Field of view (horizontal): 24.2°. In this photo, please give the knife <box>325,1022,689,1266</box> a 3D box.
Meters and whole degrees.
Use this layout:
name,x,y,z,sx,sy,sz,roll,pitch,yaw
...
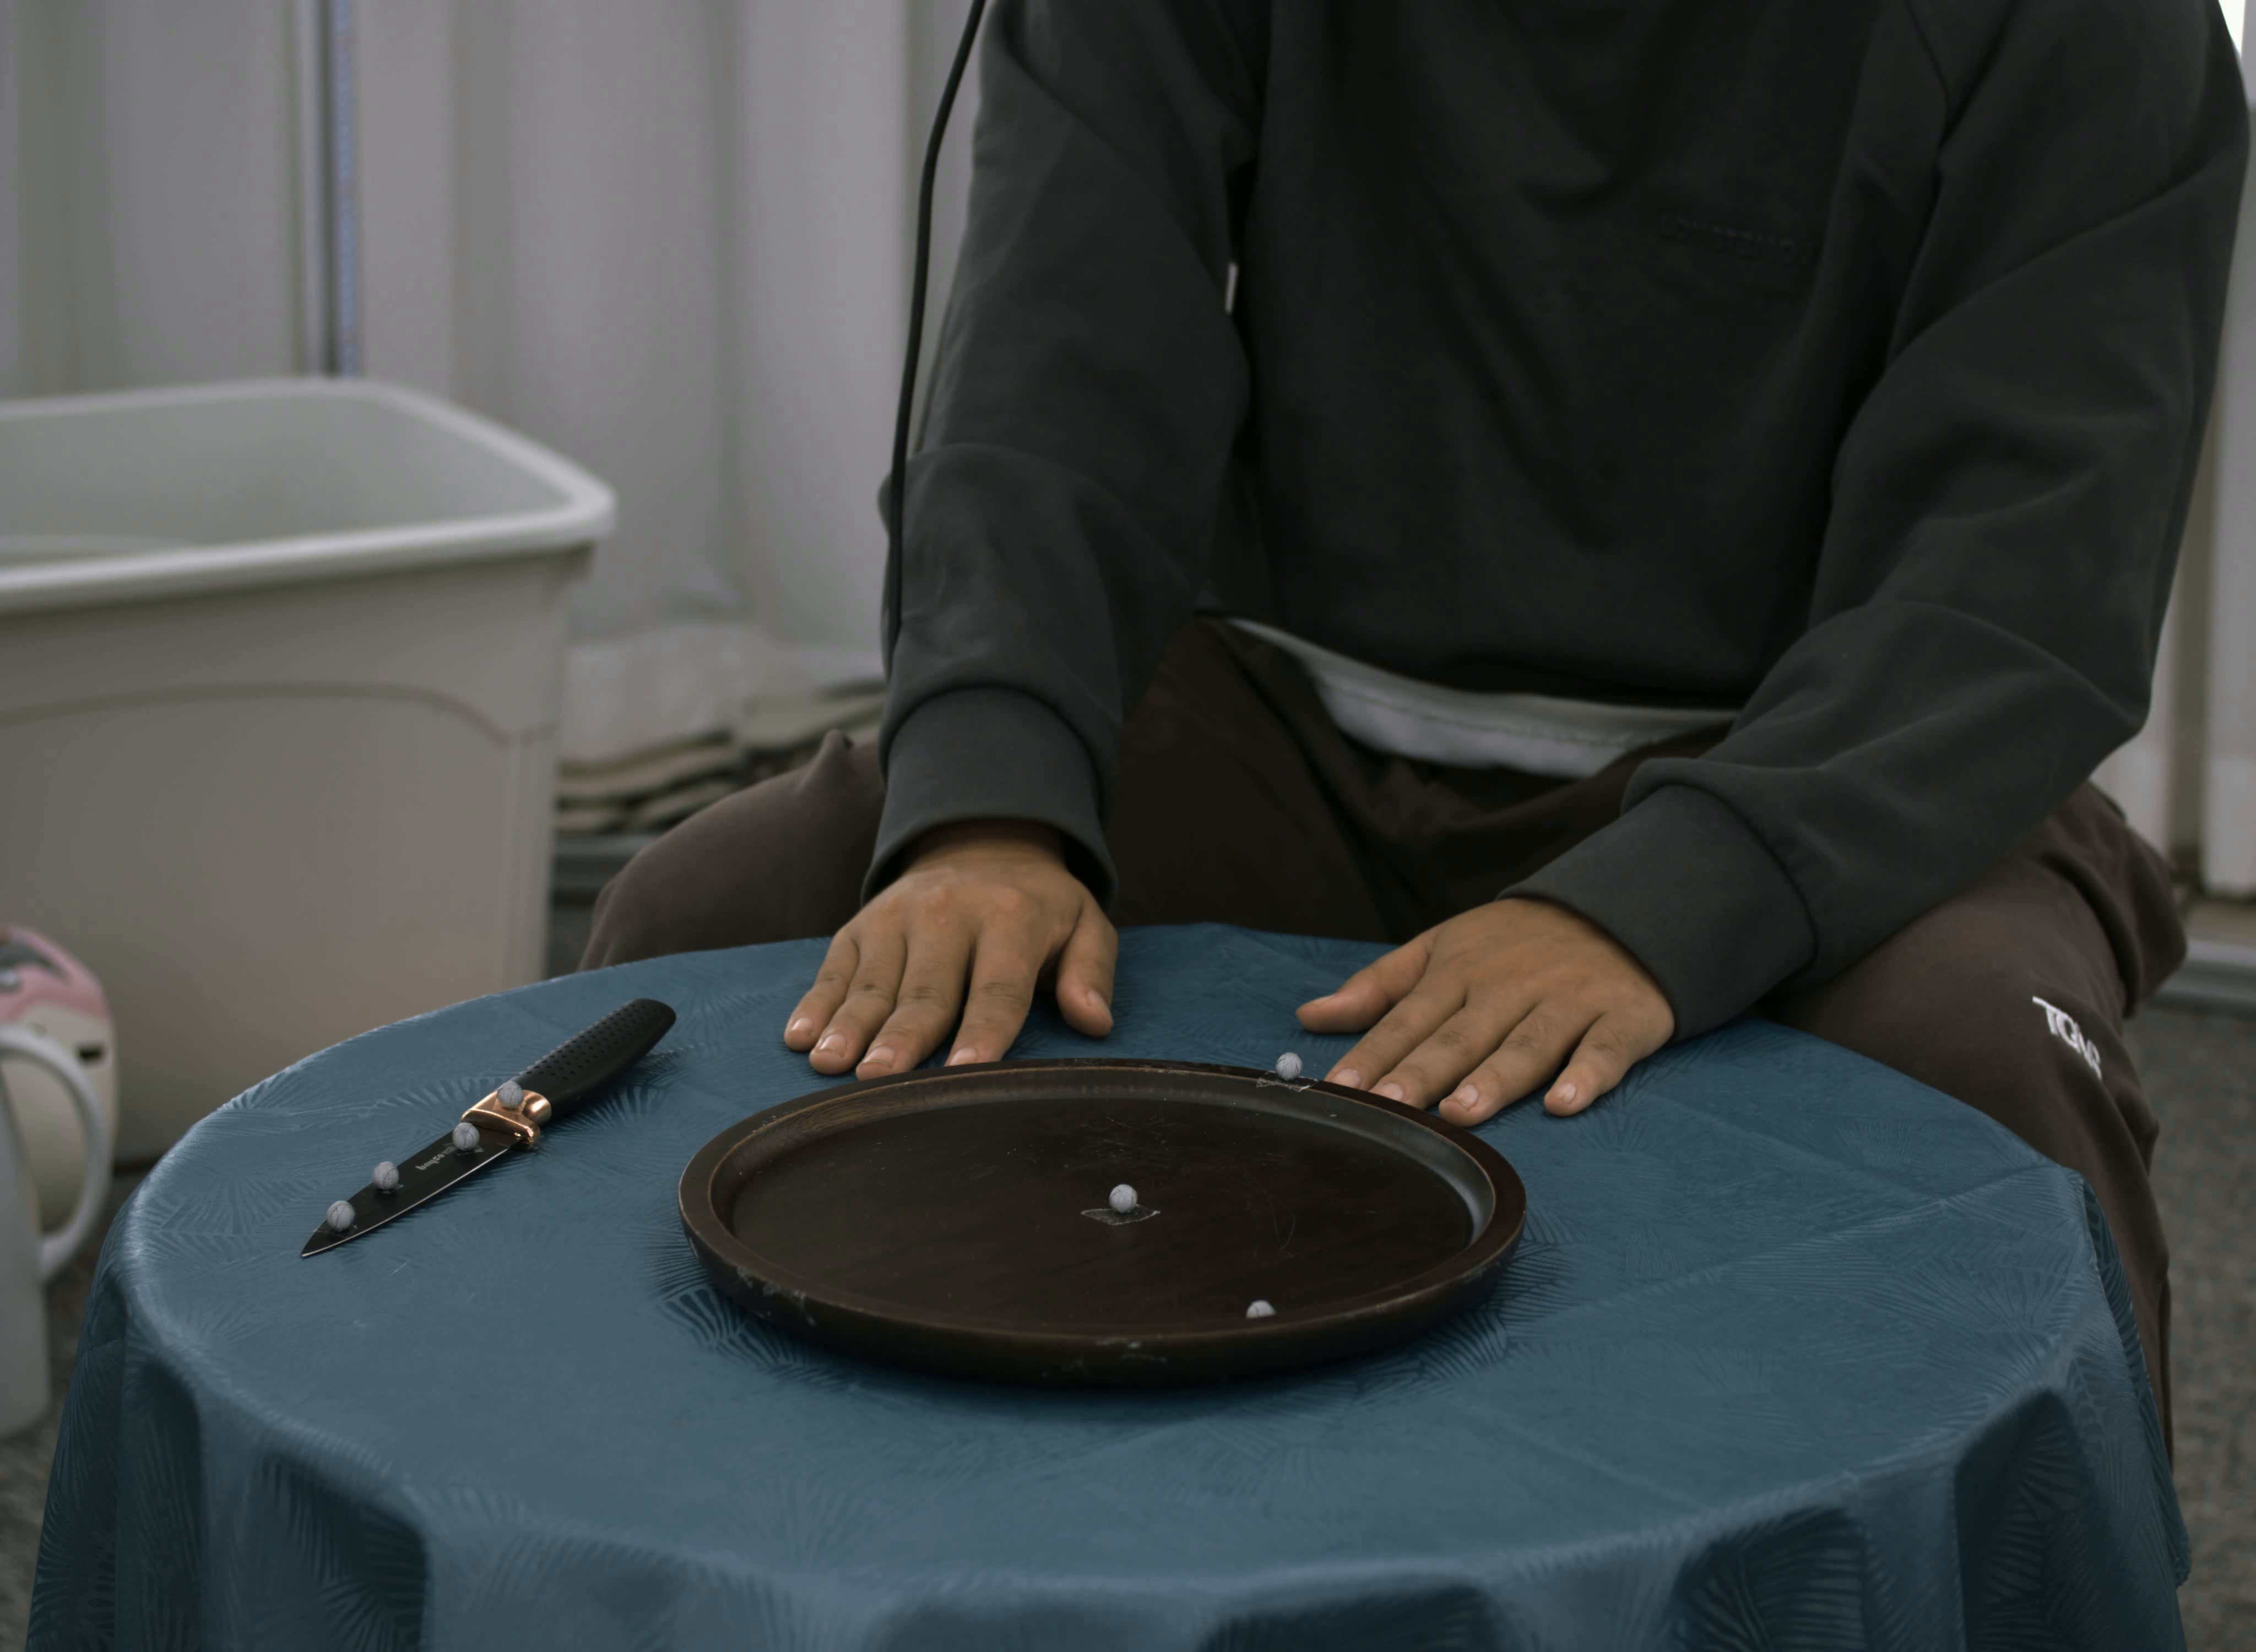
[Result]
name,x,y,z,sx,sy,sz,roll,pitch,yaw
knife,-0.196,0.099,1.649,0.026,0.017,0.226,13,20,20

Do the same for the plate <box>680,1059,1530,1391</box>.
name,x,y,z,sx,sy,sz,roll,pitch,yaw
plate,-0.007,0.116,1.569,0.254,0.029,0.253,0,14,0
